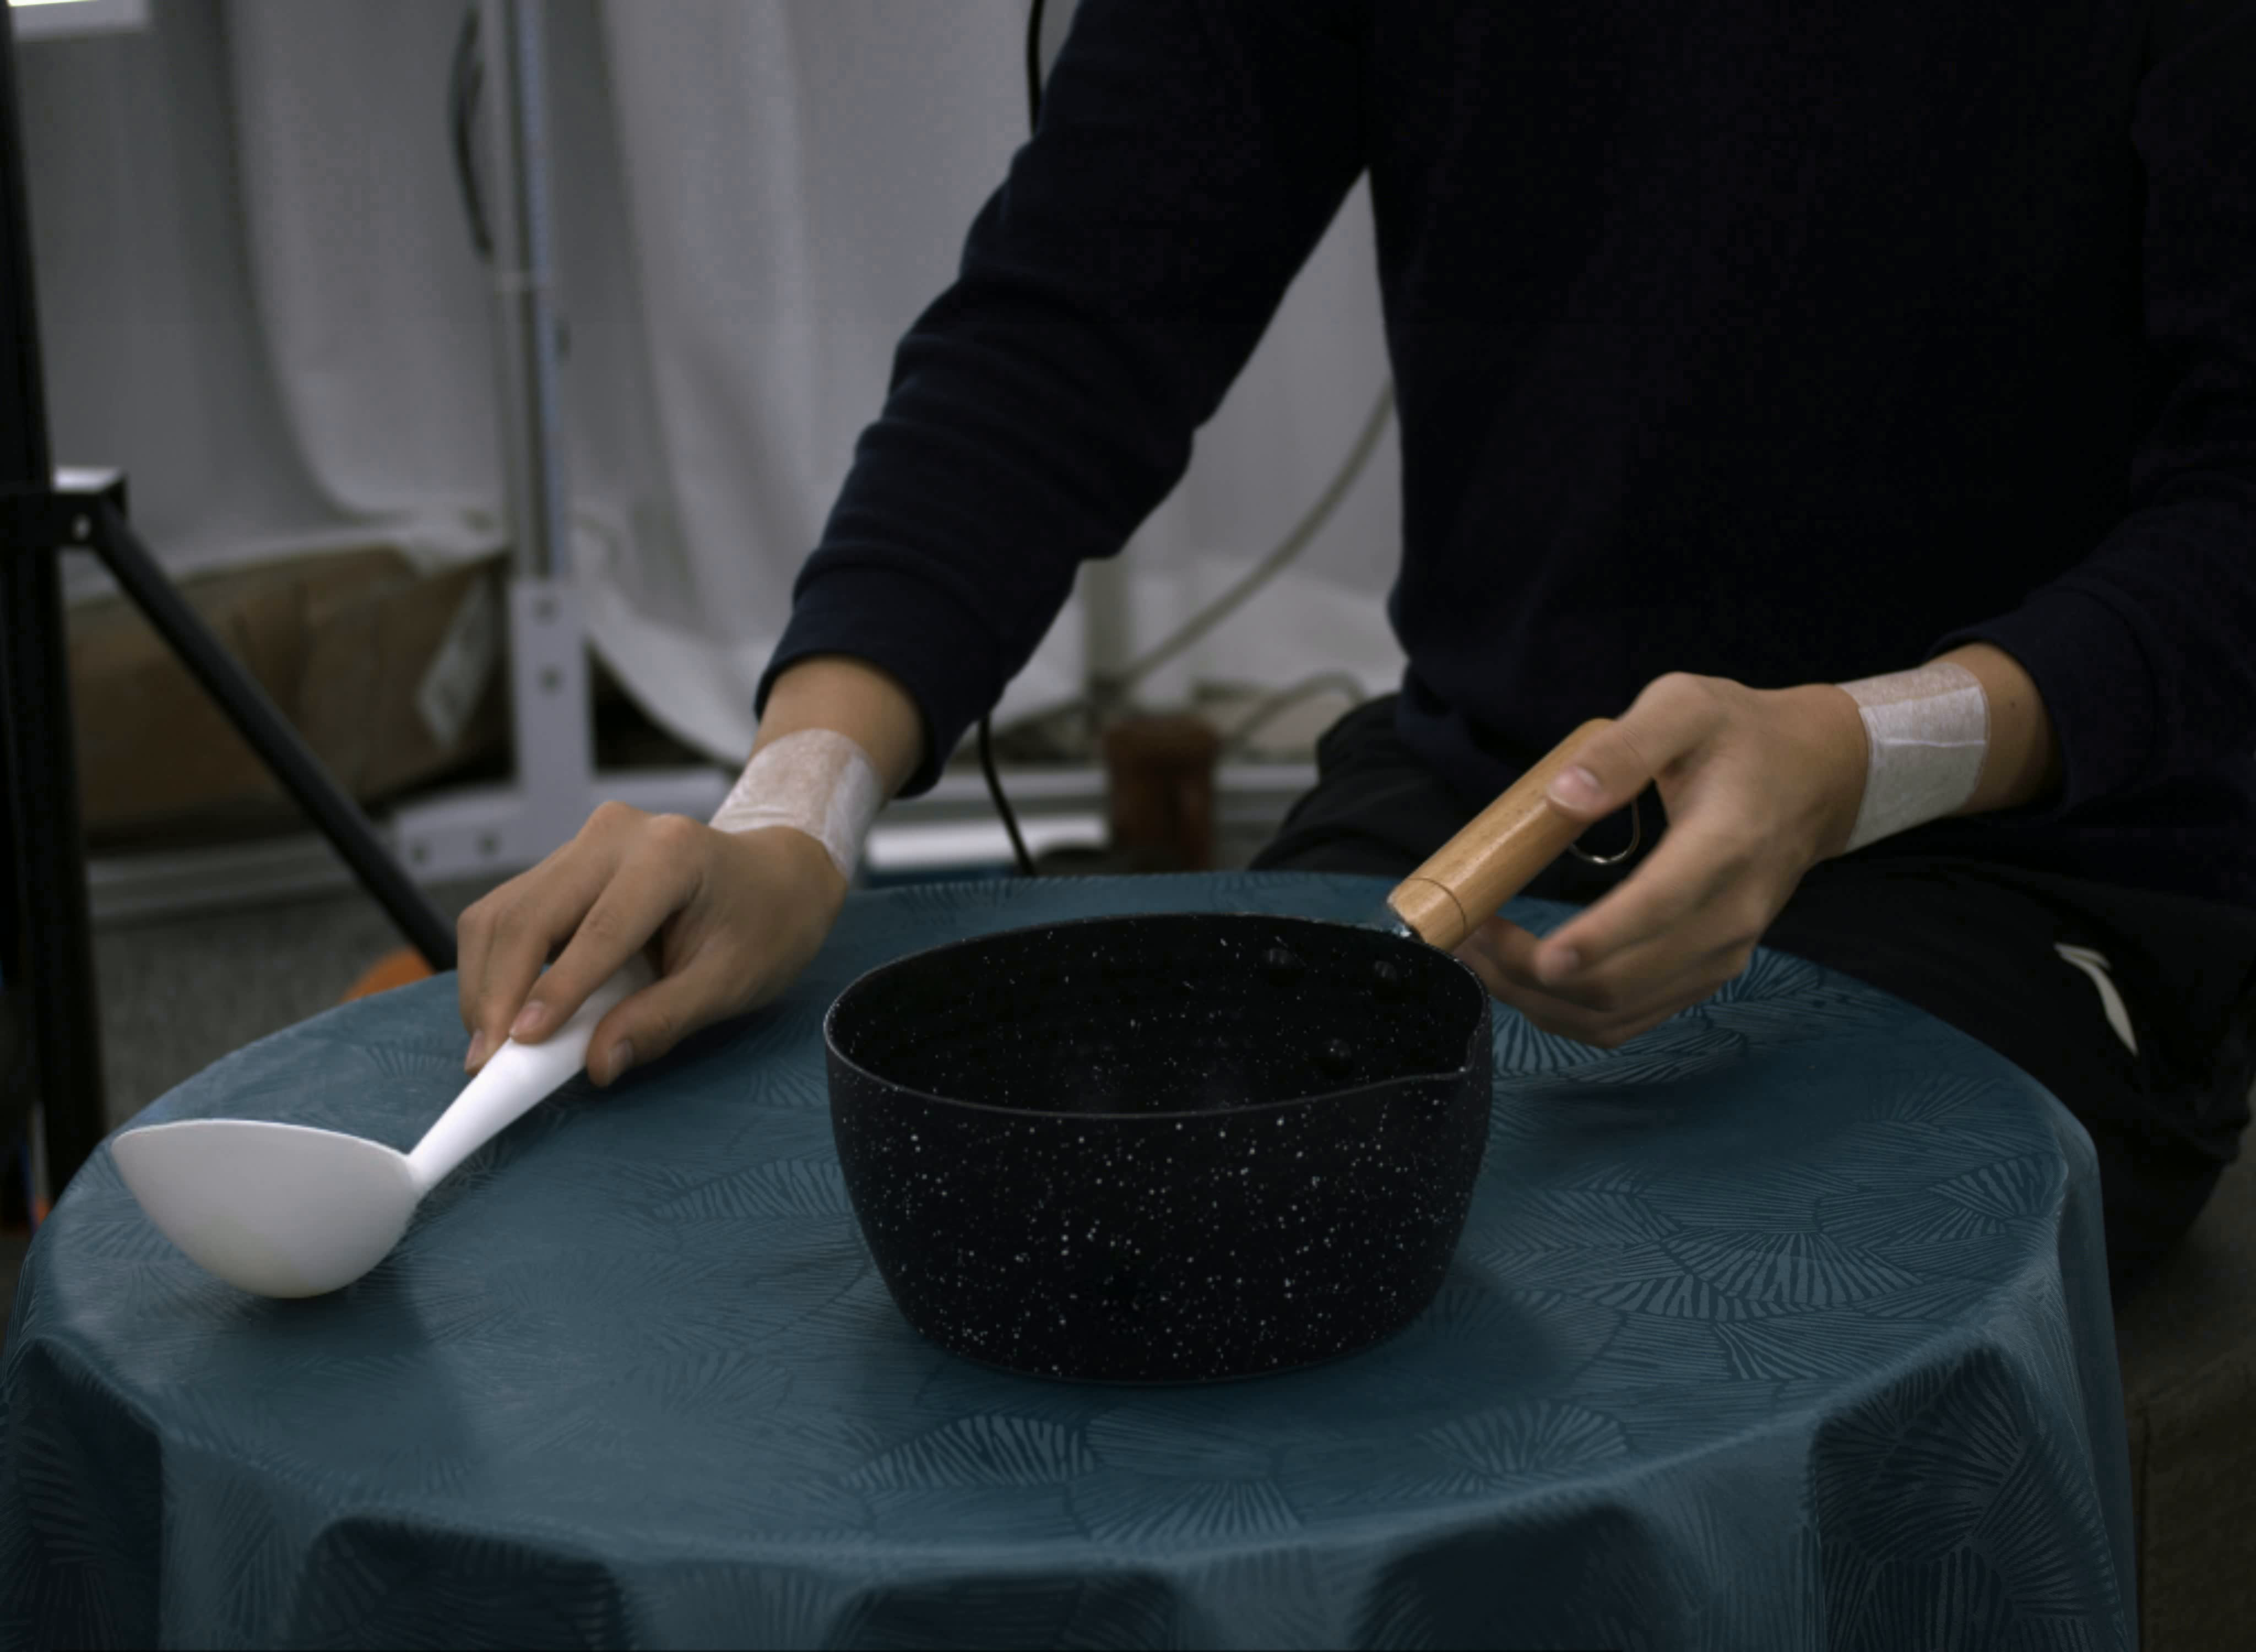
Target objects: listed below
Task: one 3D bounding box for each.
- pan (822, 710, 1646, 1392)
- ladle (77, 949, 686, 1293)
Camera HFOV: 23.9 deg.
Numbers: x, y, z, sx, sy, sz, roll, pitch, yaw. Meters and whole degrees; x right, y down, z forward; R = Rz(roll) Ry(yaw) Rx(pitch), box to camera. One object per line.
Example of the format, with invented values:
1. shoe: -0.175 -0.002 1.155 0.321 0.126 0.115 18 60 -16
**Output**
1. pan: 0.054 0.059 1.523 0.211 0.108 0.336 7 20 35
2. ladle: -0.210 0.074 1.602 0.091 0.070 0.289 -10 11 23
